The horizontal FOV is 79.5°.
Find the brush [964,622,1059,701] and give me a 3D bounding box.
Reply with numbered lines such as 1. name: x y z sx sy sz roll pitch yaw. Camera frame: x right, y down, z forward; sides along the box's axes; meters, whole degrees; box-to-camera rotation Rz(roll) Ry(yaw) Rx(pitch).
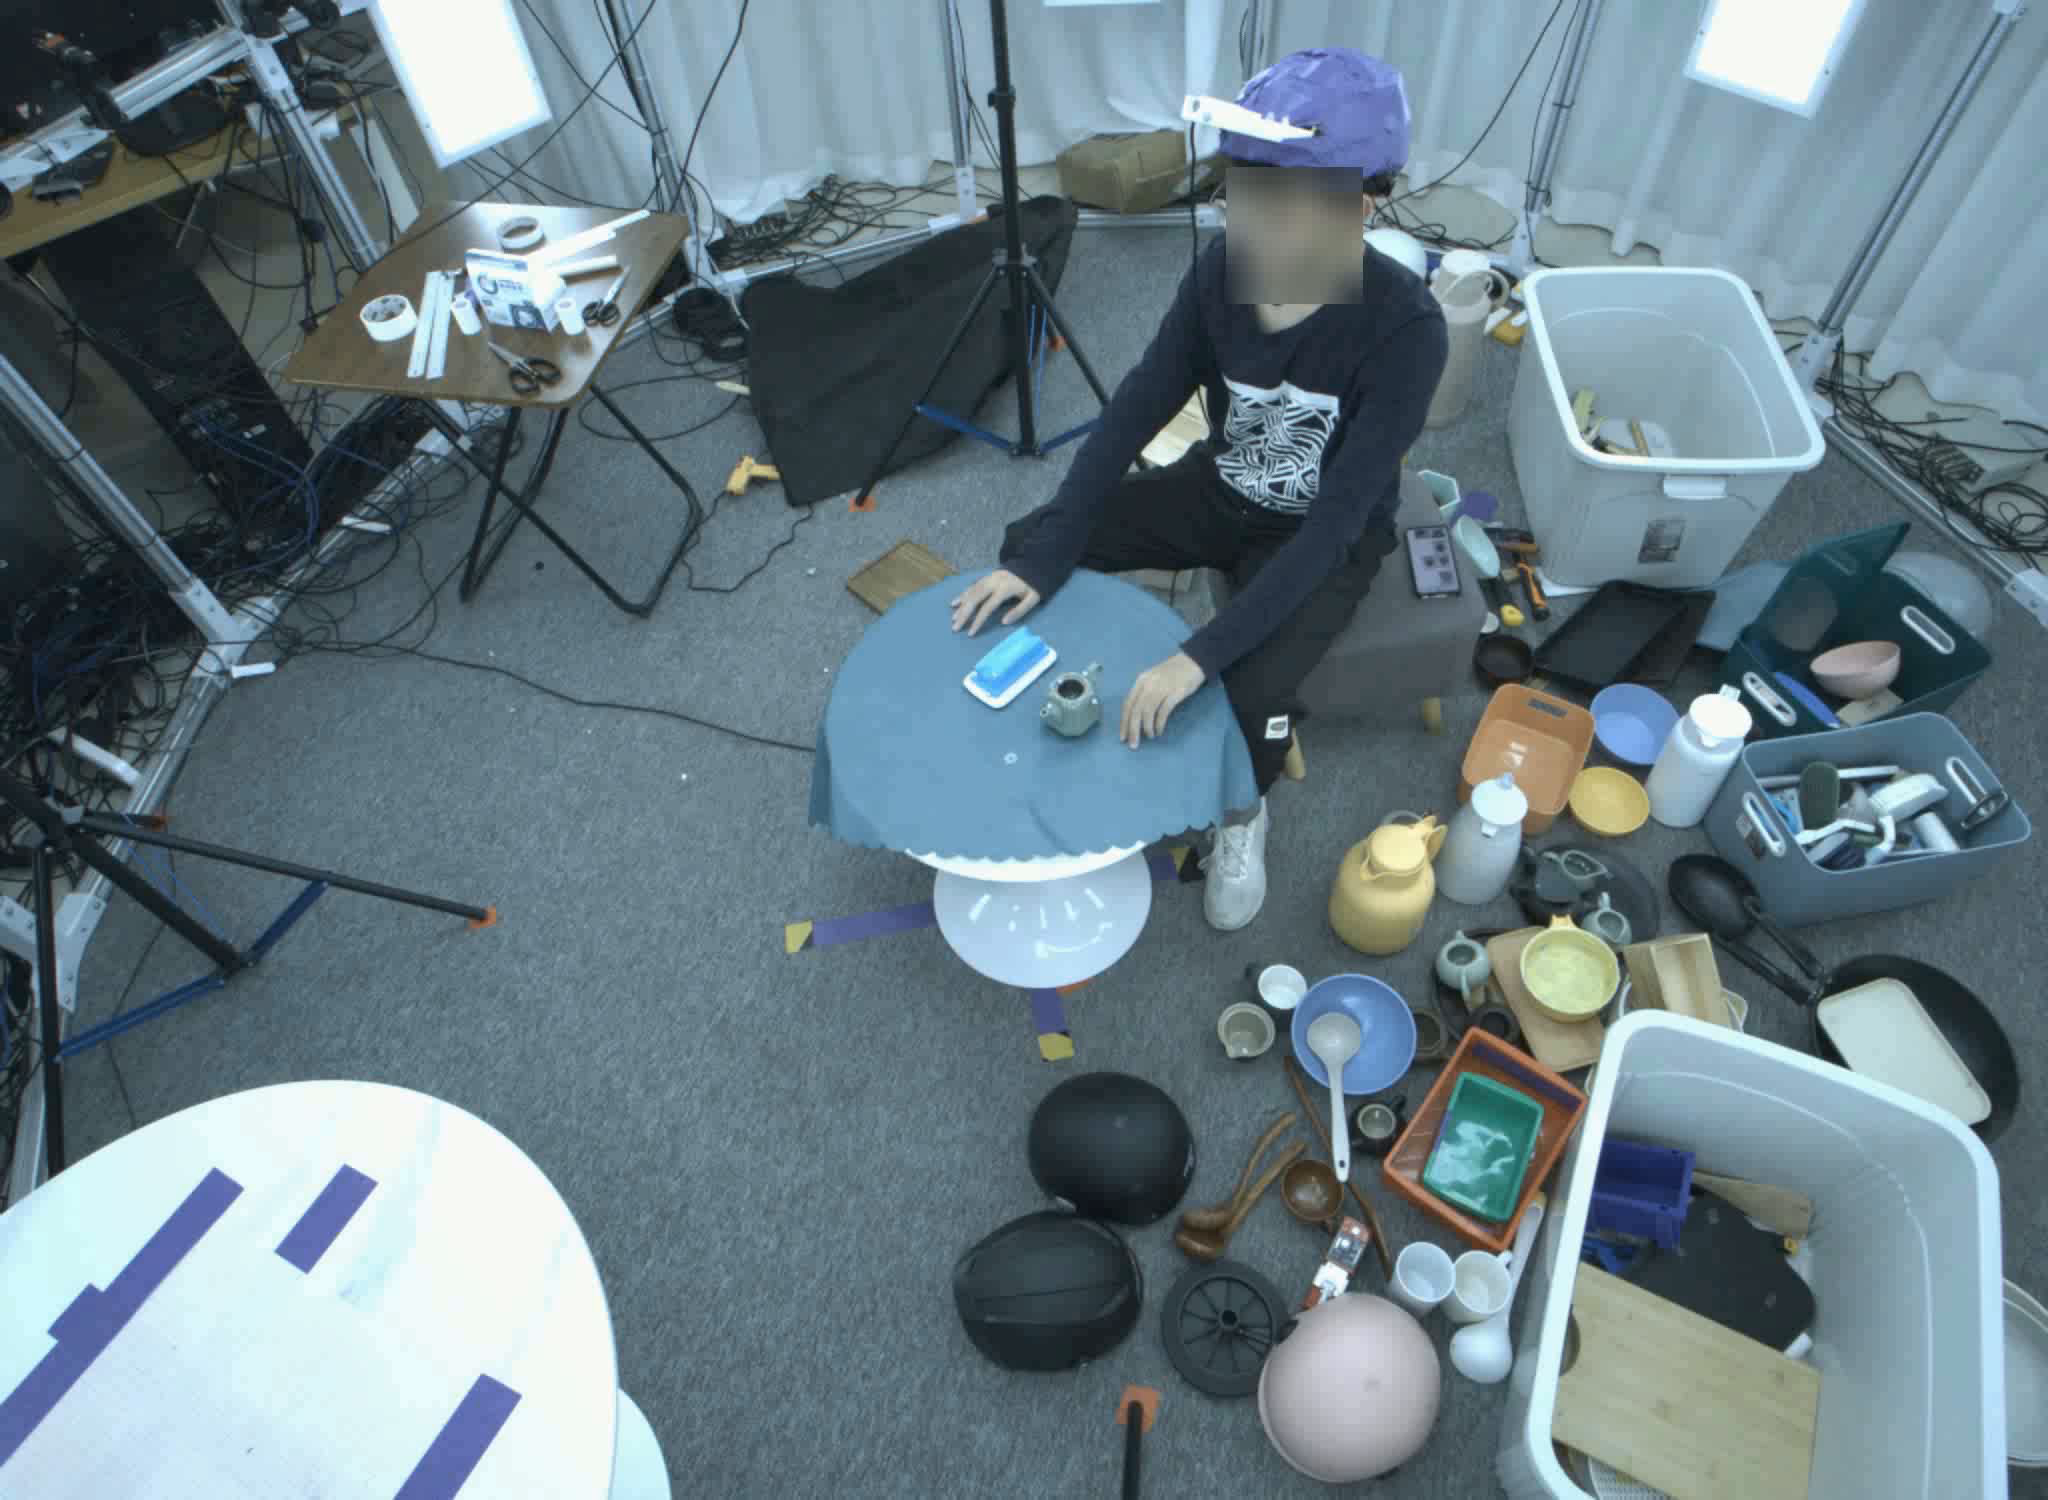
1. brush: -0.019 -0.141 1.844 0.082 0.056 0.145 39 67 23

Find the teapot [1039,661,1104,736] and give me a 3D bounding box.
1. teapot: 0.069 -0.070 1.782 0.078 0.076 0.133 35 62 25
